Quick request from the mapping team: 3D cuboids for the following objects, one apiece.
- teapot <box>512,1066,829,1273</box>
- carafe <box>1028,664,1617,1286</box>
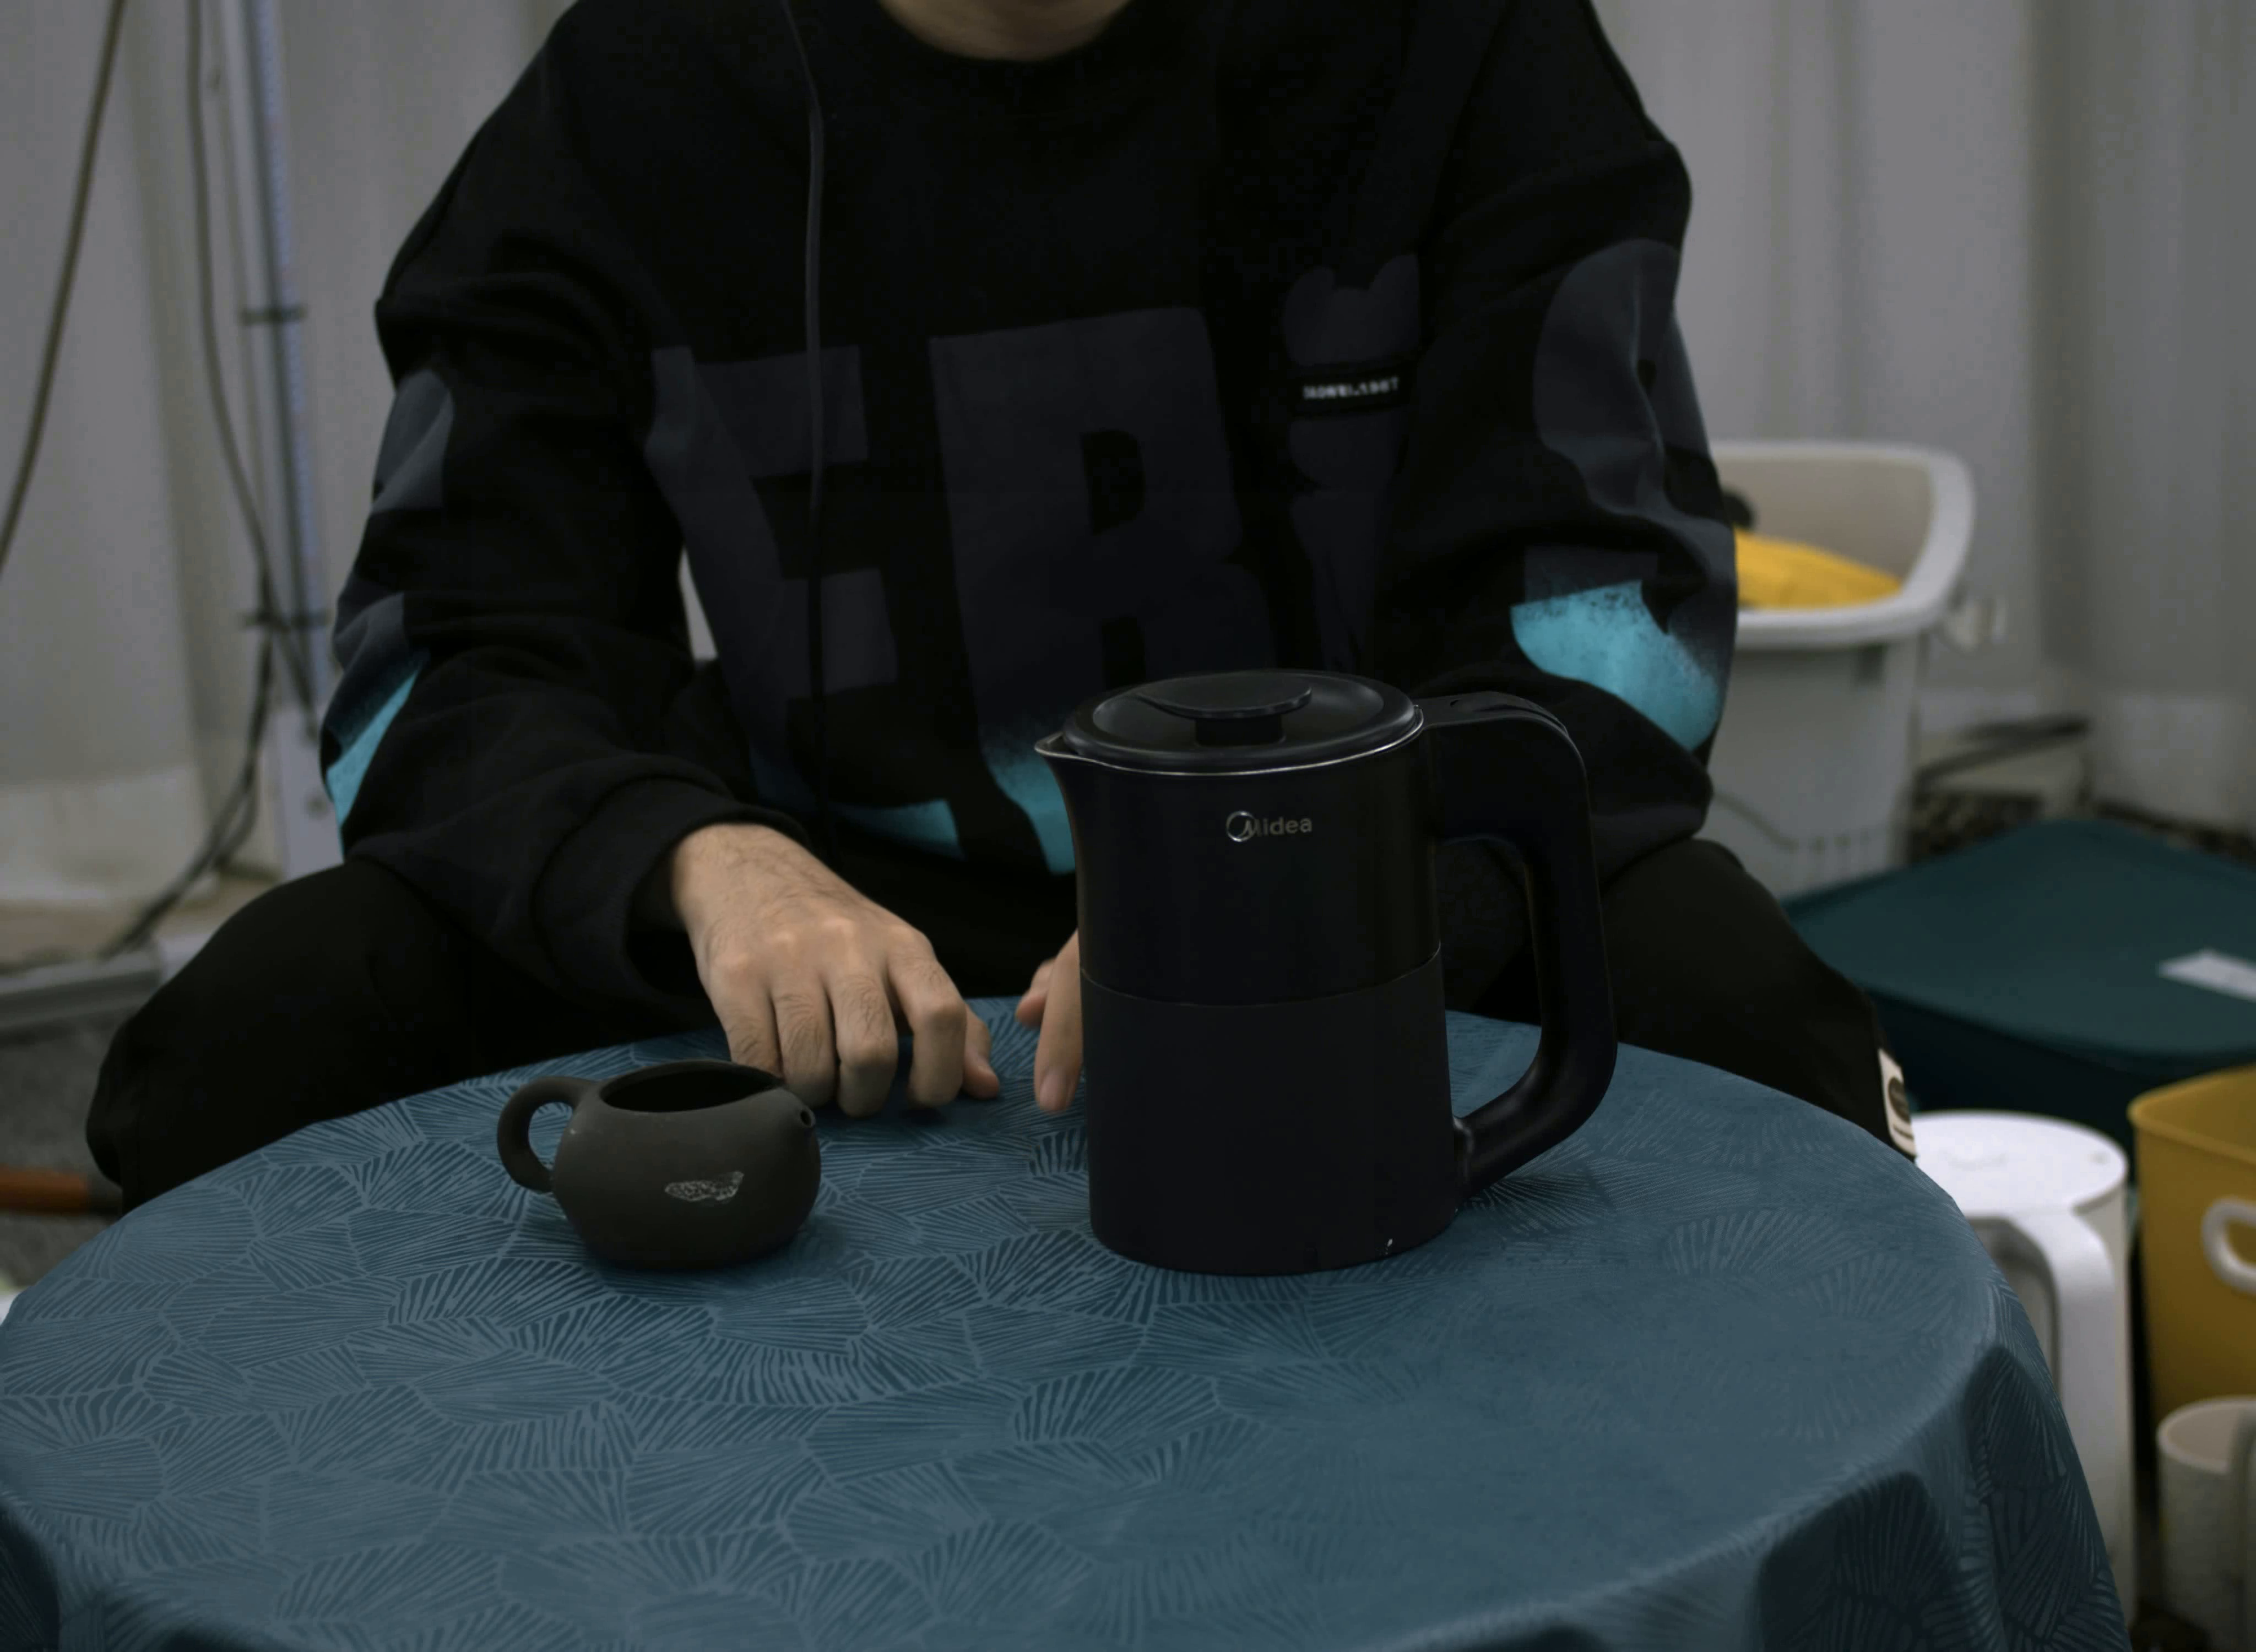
[{"bbox_3d":[-0.143,0.103,1.689,0.114,0.053,0.083,10,18,31],"label":"teapot"},{"bbox_3d":[0.061,0.036,1.667,0.171,0.173,0.115,-8,13,-9],"label":"carafe"}]
